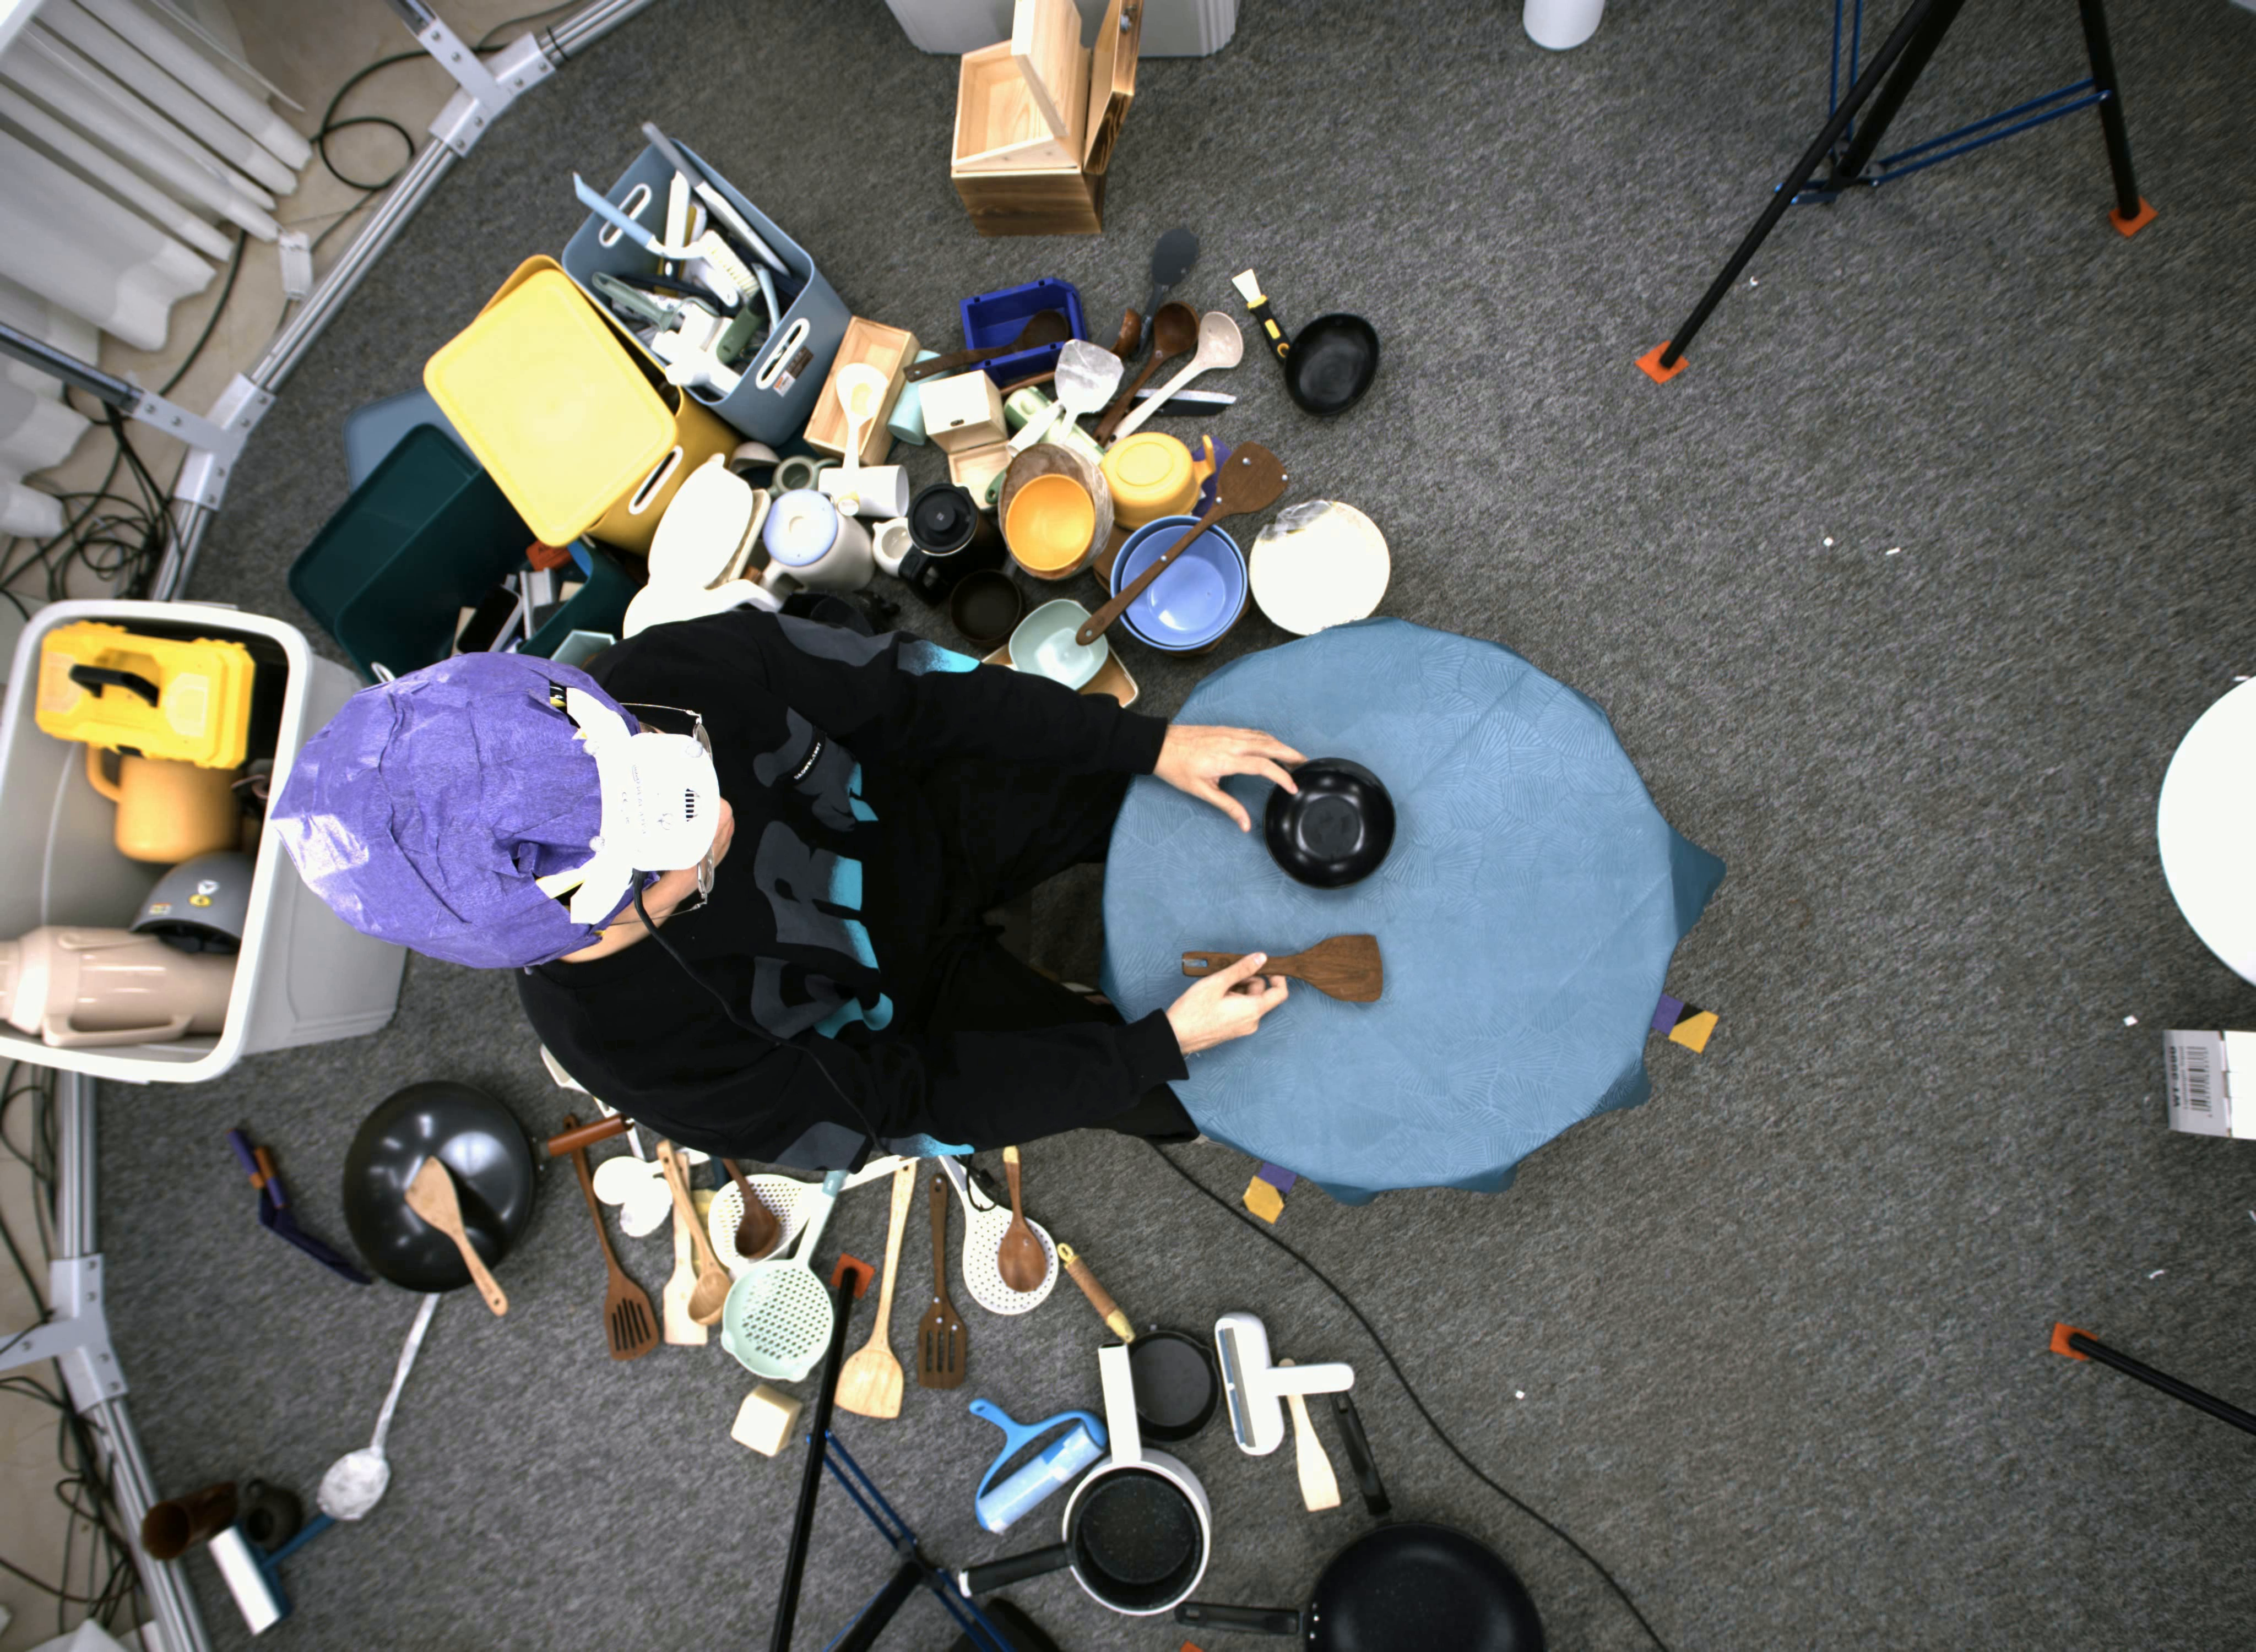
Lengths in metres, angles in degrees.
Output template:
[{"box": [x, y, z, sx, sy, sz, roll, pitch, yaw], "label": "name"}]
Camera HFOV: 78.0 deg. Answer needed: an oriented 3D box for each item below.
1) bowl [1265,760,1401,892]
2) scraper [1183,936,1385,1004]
[{"box": [0.215, 0.000, 1.454, 0.140, 0.050, 0.139, 0, 89, 9], "label": "bowl"}, {"box": [0.162, 0.146, 1.442, 0.211, 0.011, 0.074, 2, 66, -2], "label": "scraper"}]
